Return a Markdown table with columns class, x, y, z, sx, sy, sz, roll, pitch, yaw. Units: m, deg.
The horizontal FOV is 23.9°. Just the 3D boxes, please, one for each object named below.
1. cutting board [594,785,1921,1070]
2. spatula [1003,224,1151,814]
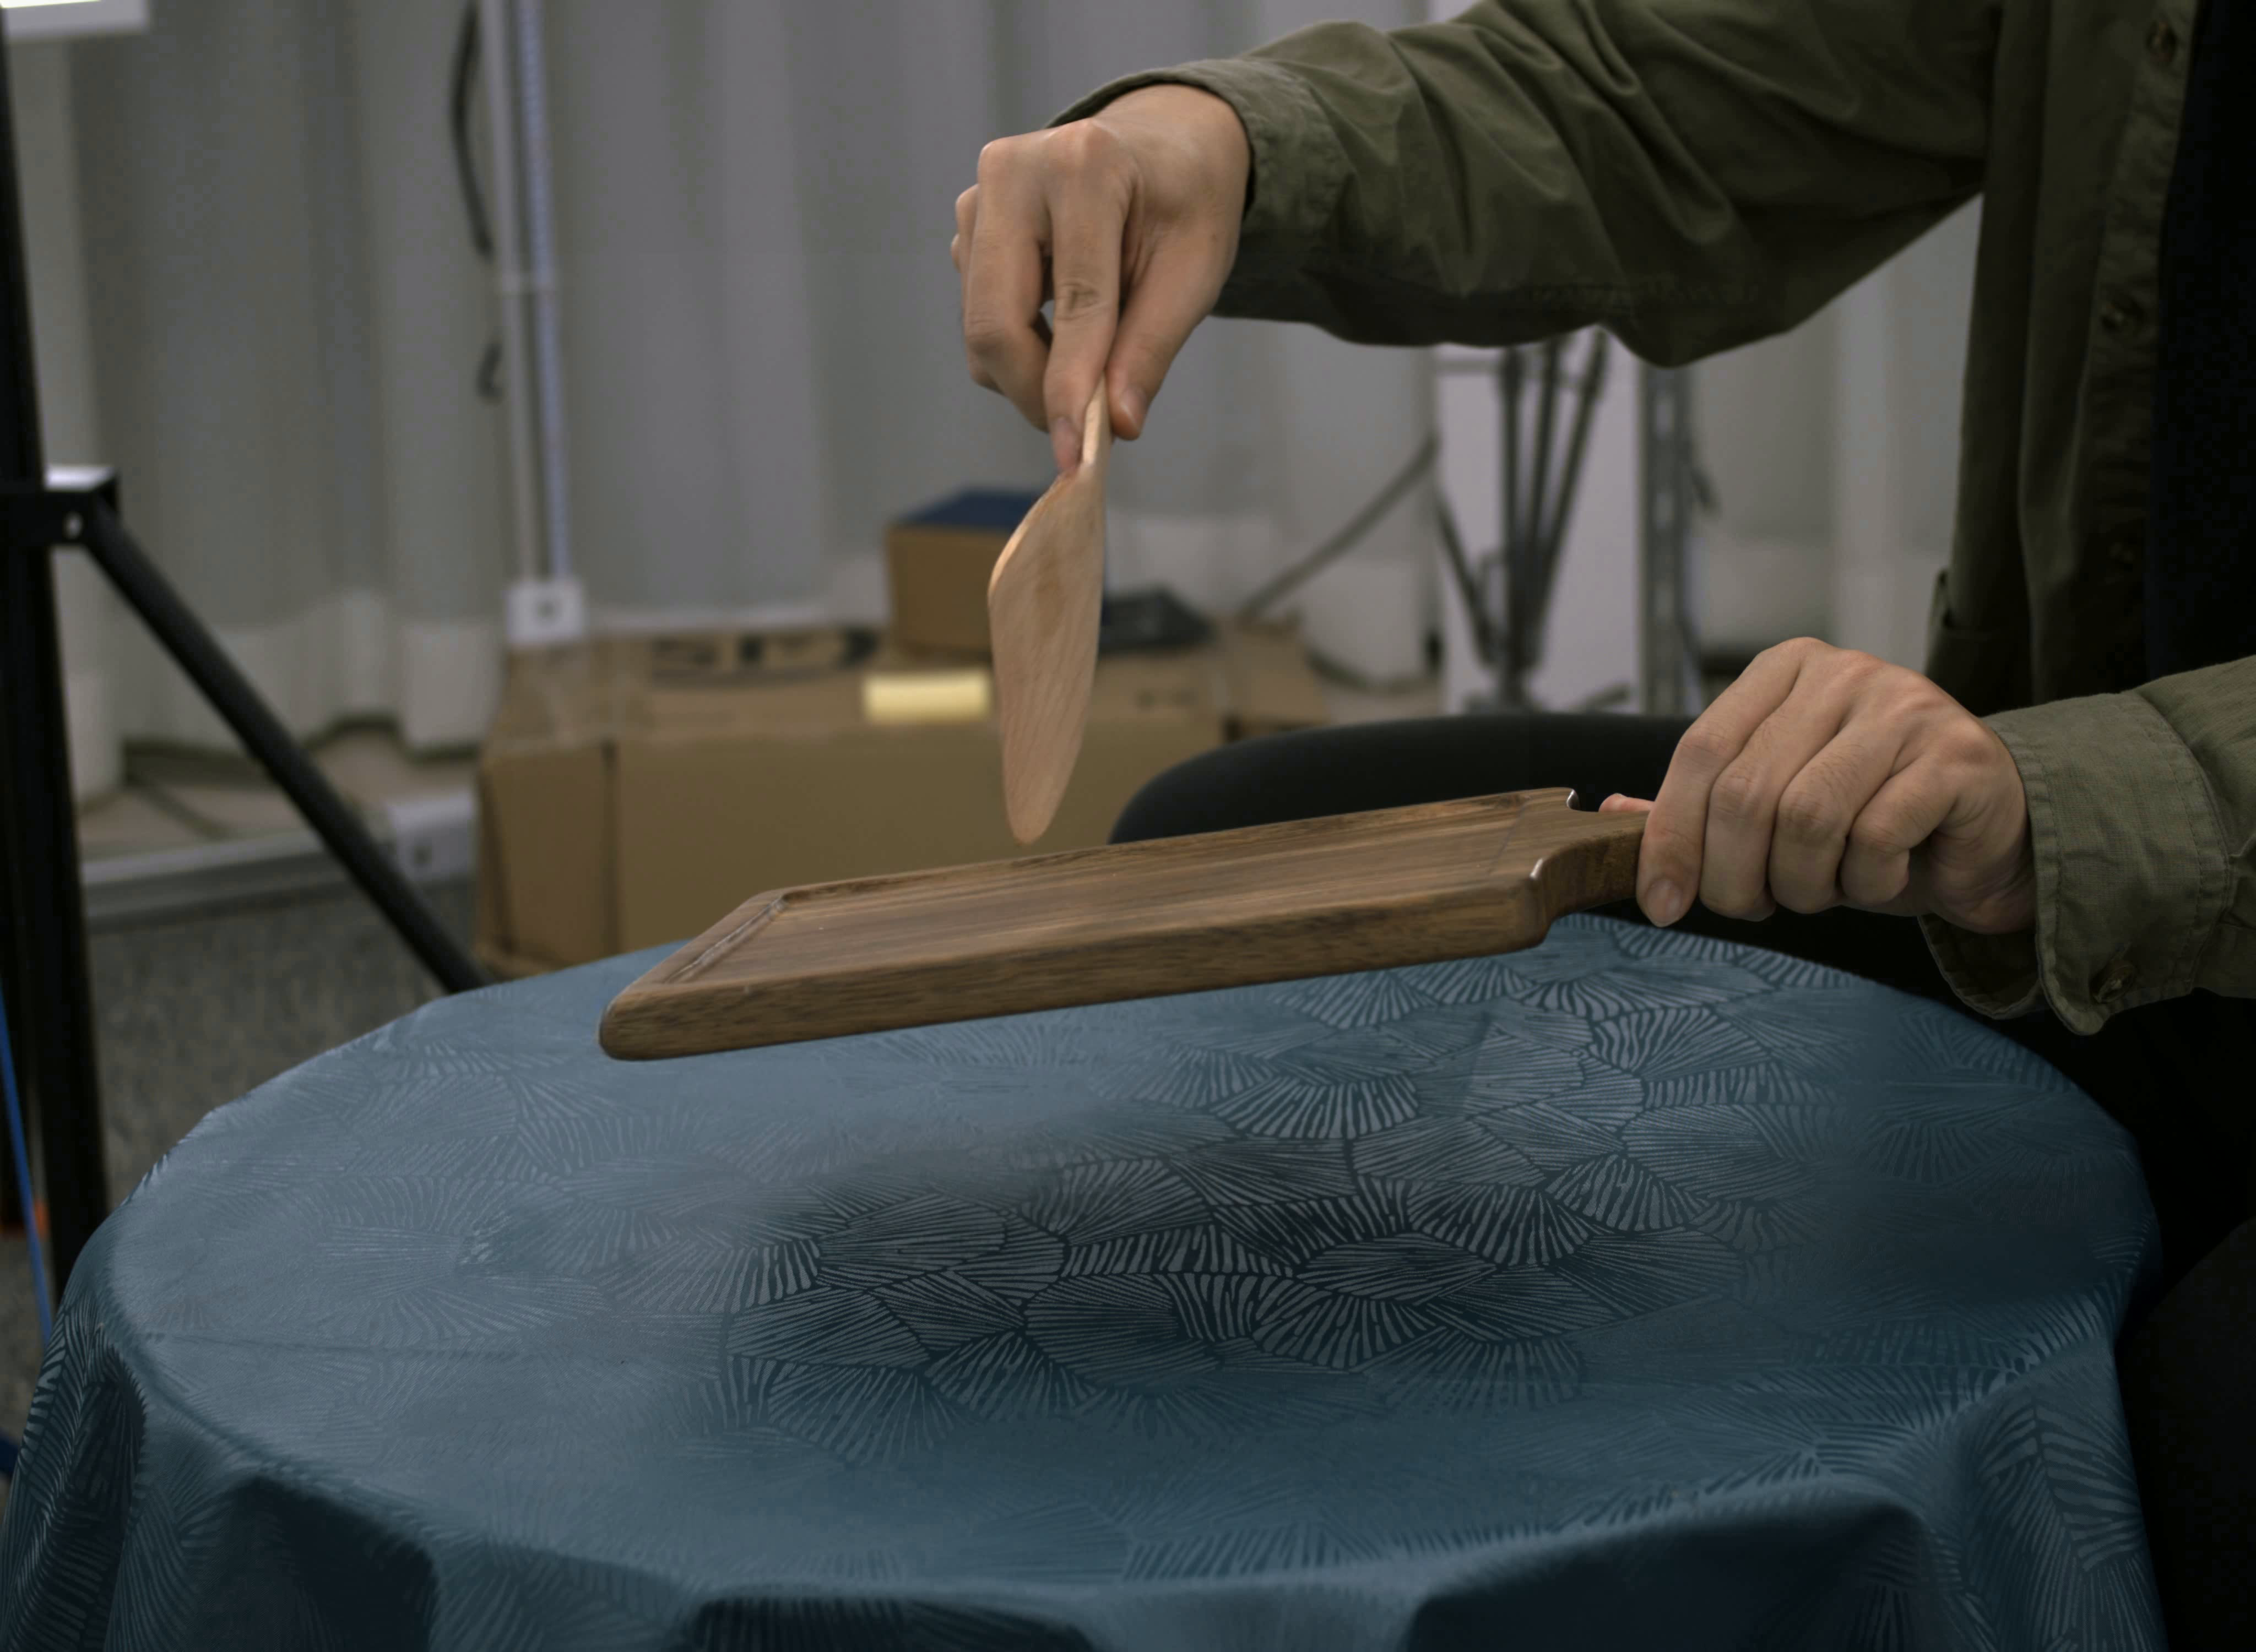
| class | x | y | z | sx | sy | sz | roll | pitch | yaw |
| --- | --- | --- | --- | --- | --- | --- | --- | --- | --- |
| cutting board | 0.042 | 0.022 | 1.463 | 0.354 | 0.023 | 0.199 | -7 | 7 | 12 |
| spatula | -0.012 | -0.110 | 1.564 | 0.016 | 0.079 | 0.329 | -5 | 27 | 7 |
